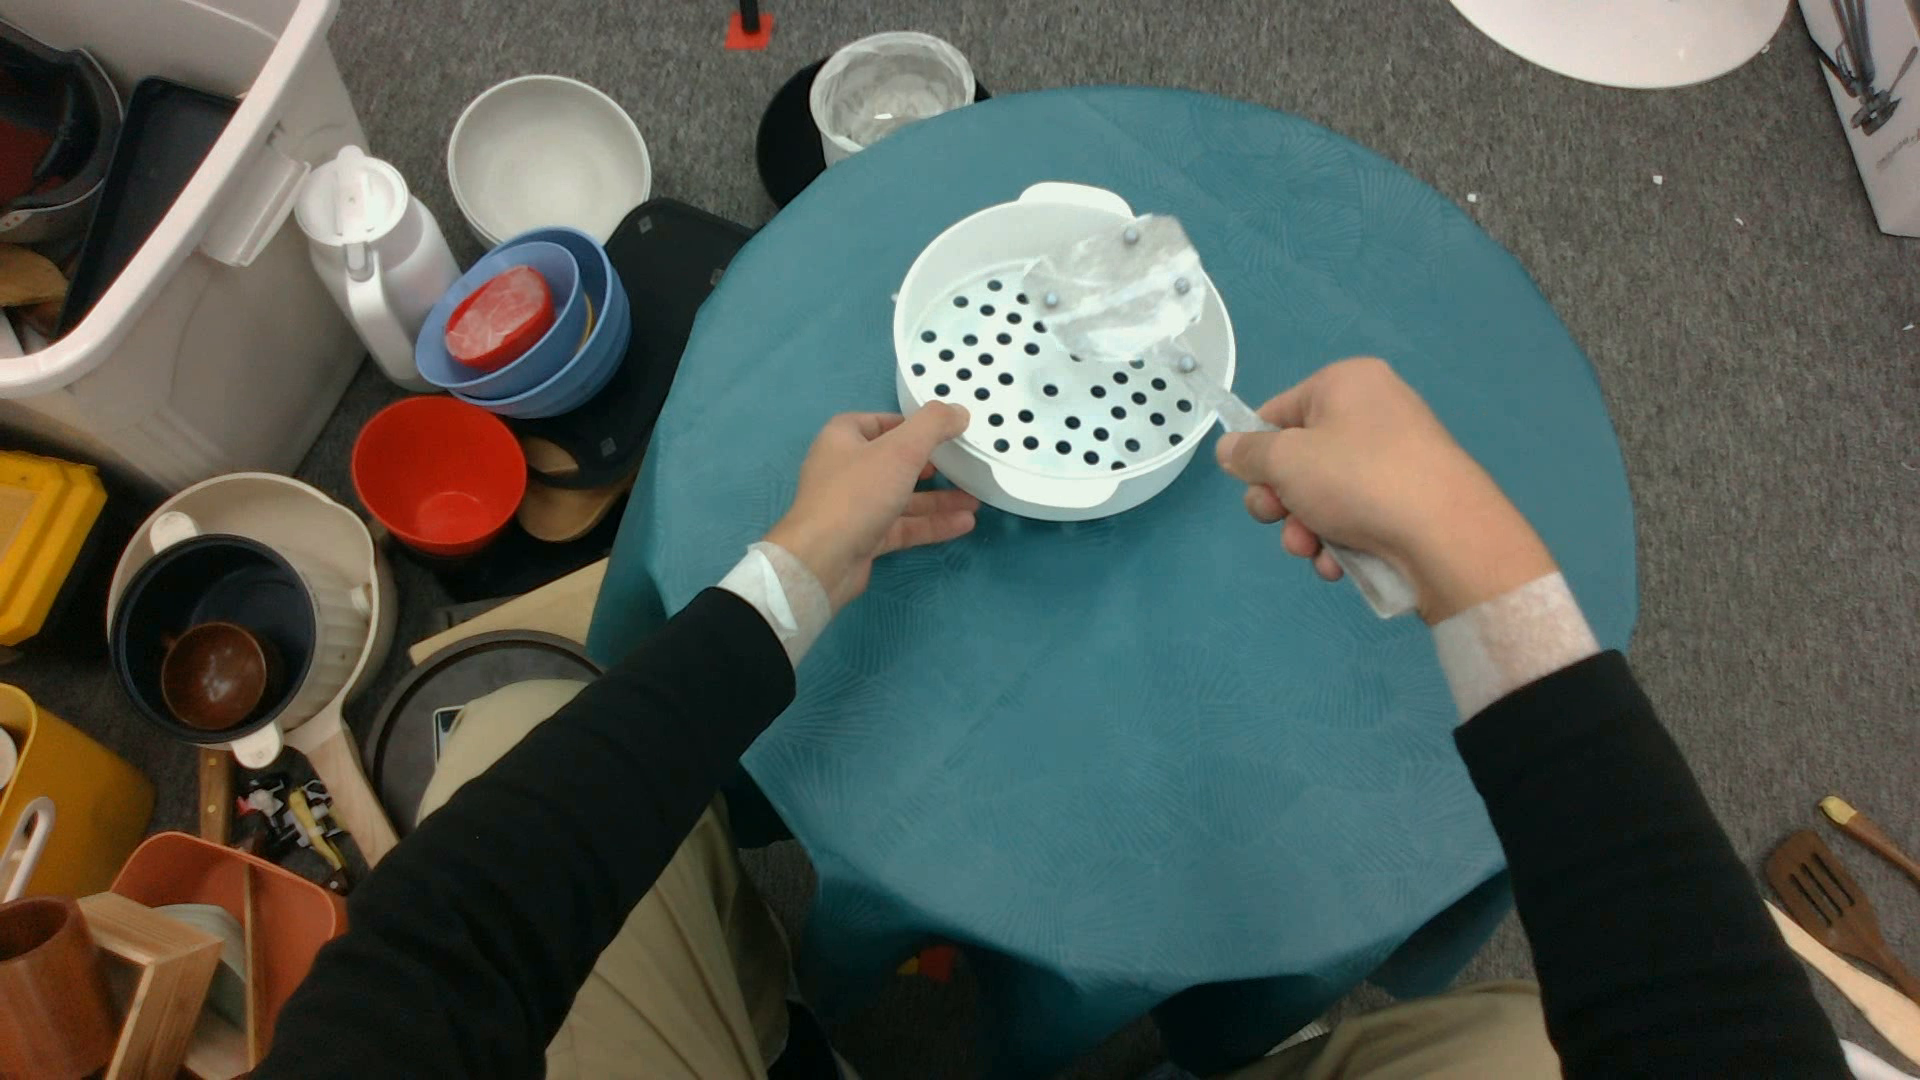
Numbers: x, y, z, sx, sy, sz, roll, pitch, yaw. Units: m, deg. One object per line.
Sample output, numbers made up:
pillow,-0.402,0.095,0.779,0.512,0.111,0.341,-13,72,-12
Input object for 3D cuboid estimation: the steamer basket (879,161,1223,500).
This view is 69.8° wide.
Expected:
steamer basket,0.051,-0.120,0.827,0.202,0.069,0.231,8,63,-2

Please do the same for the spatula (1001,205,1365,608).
spatula,0.108,-0.082,0.662,0.099,0.044,0.366,-19,31,-3
